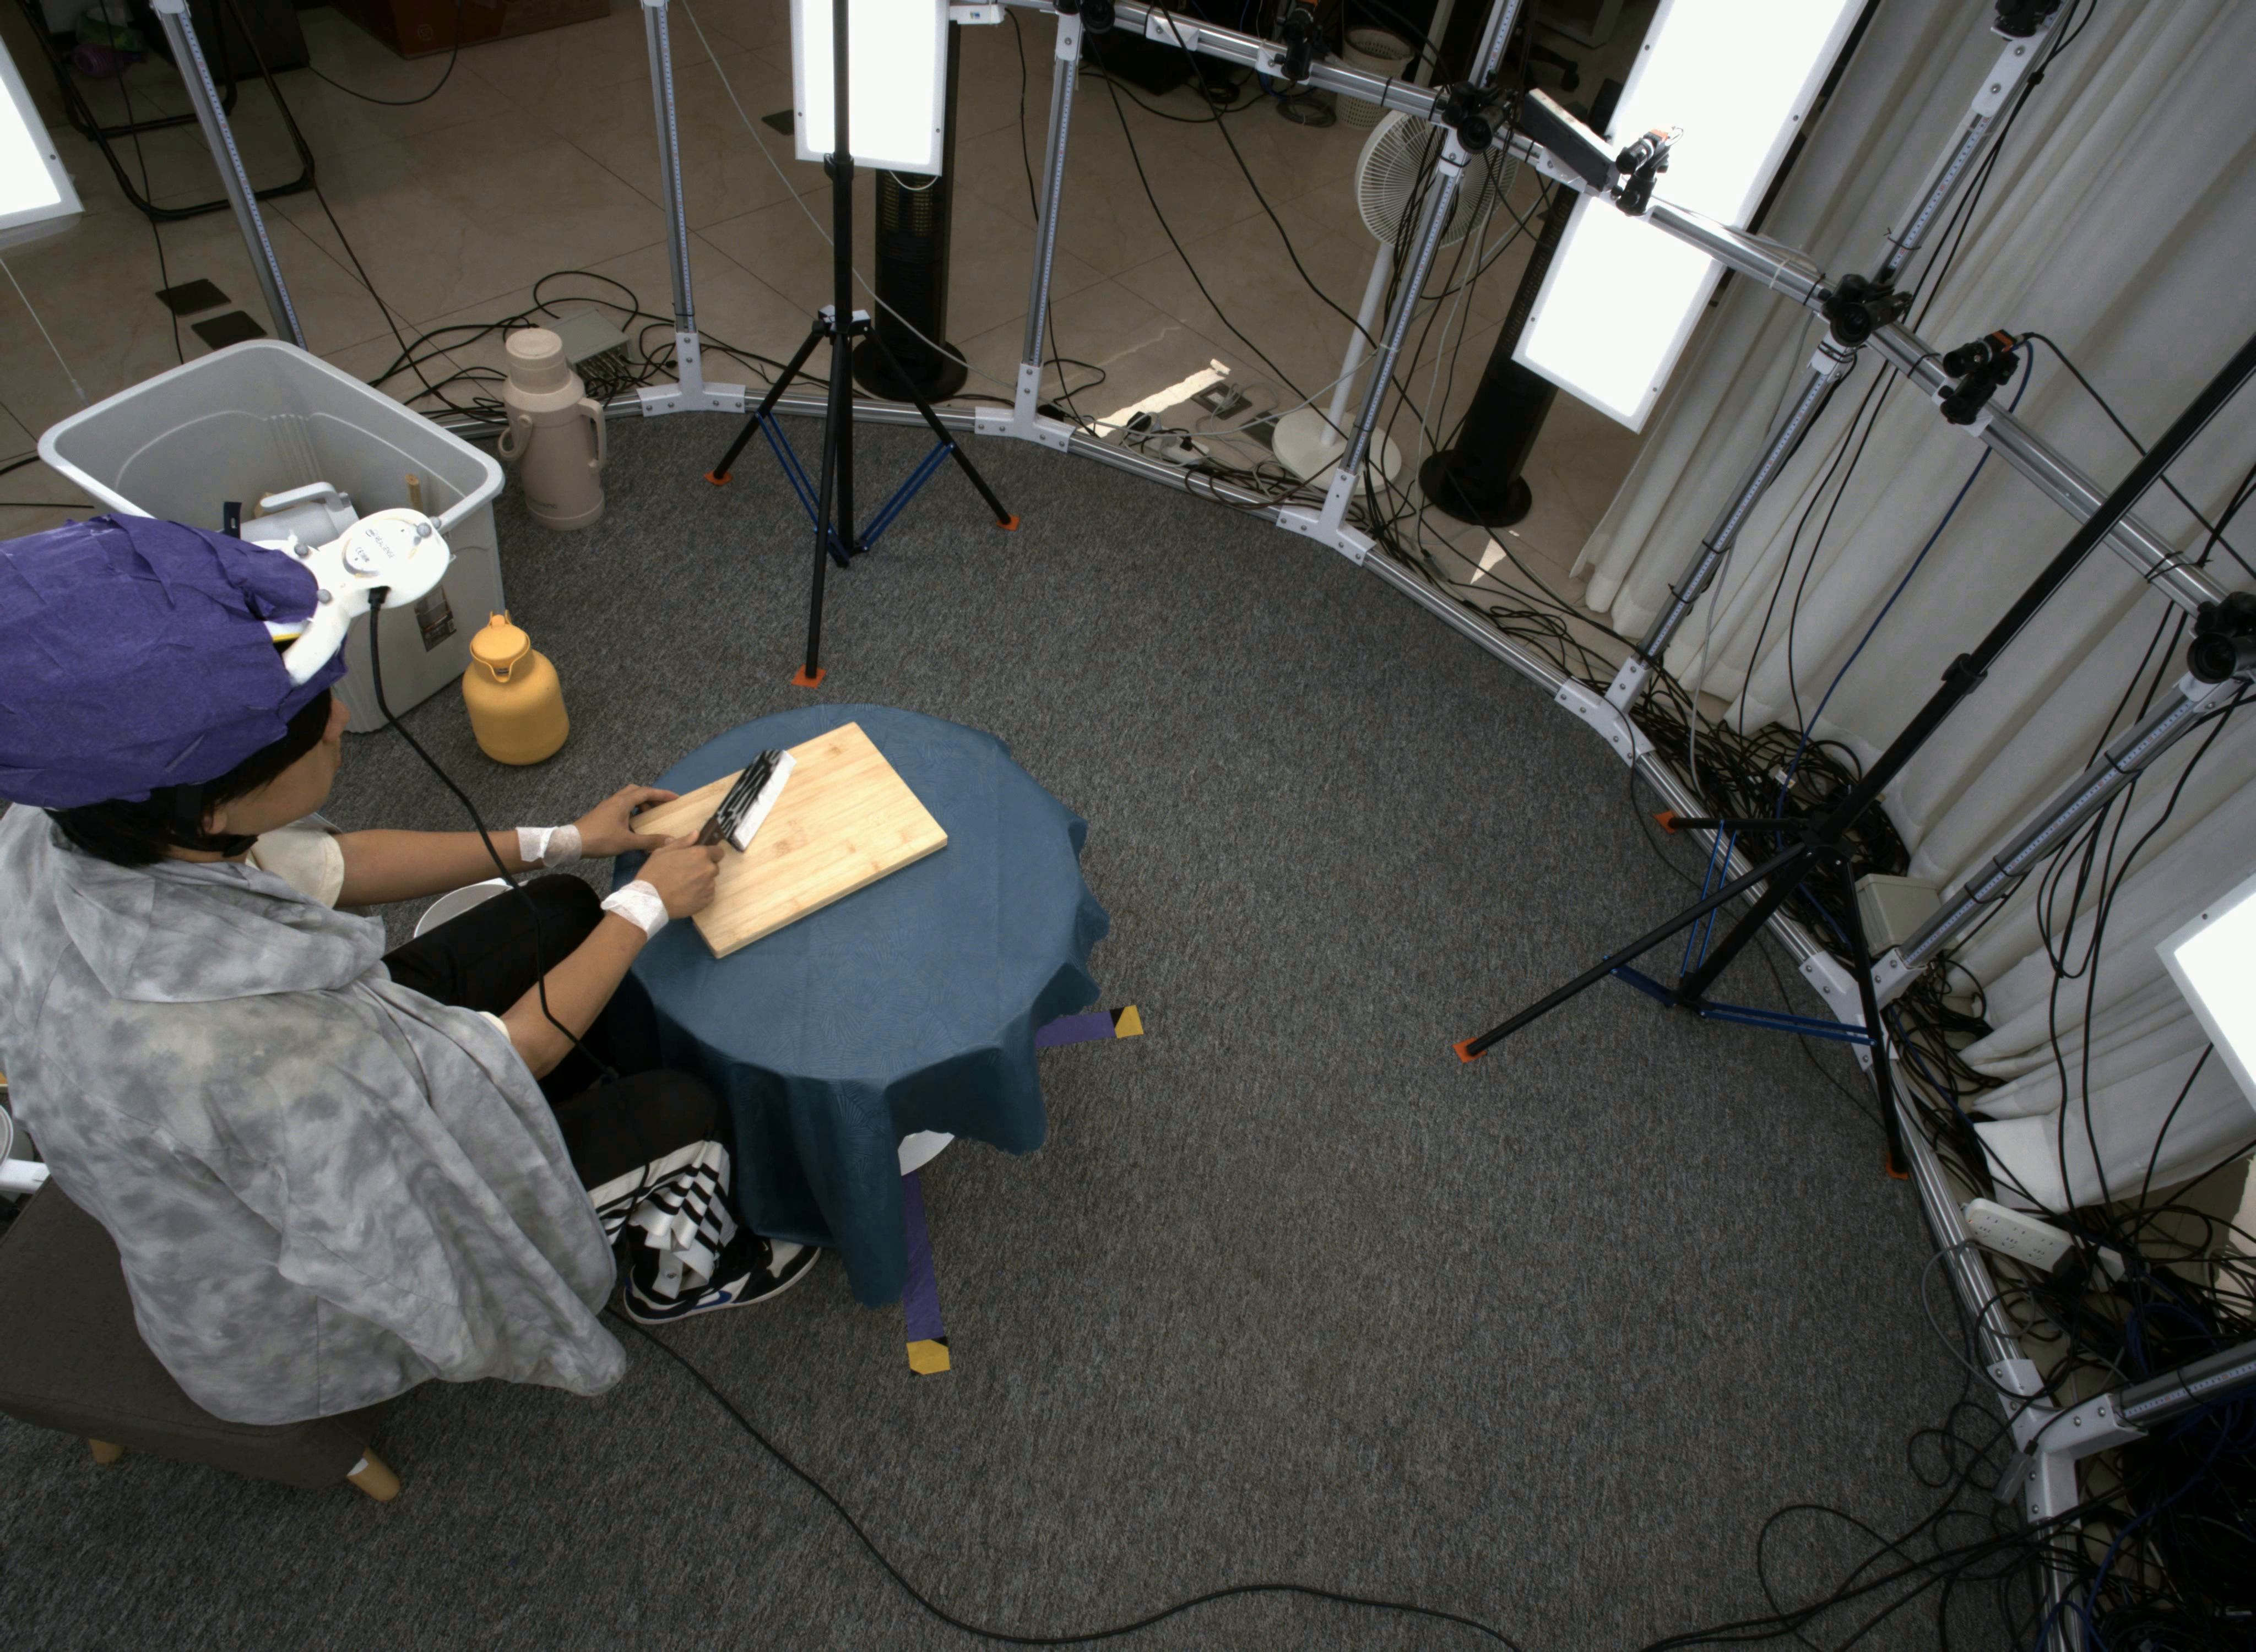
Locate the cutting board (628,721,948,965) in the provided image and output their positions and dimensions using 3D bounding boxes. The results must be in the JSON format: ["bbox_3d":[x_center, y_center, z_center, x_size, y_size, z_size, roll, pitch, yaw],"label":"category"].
[{"bbox_3d":[-0.442,0.011,1.703,0.350,0.024,0.244,-29,65,-30],"label":"cutting board"}]

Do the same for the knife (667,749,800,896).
[{"bbox_3d":[-0.495,-0.006,1.646,0.023,0.071,0.296,-5,40,26],"label":"knife"}]
